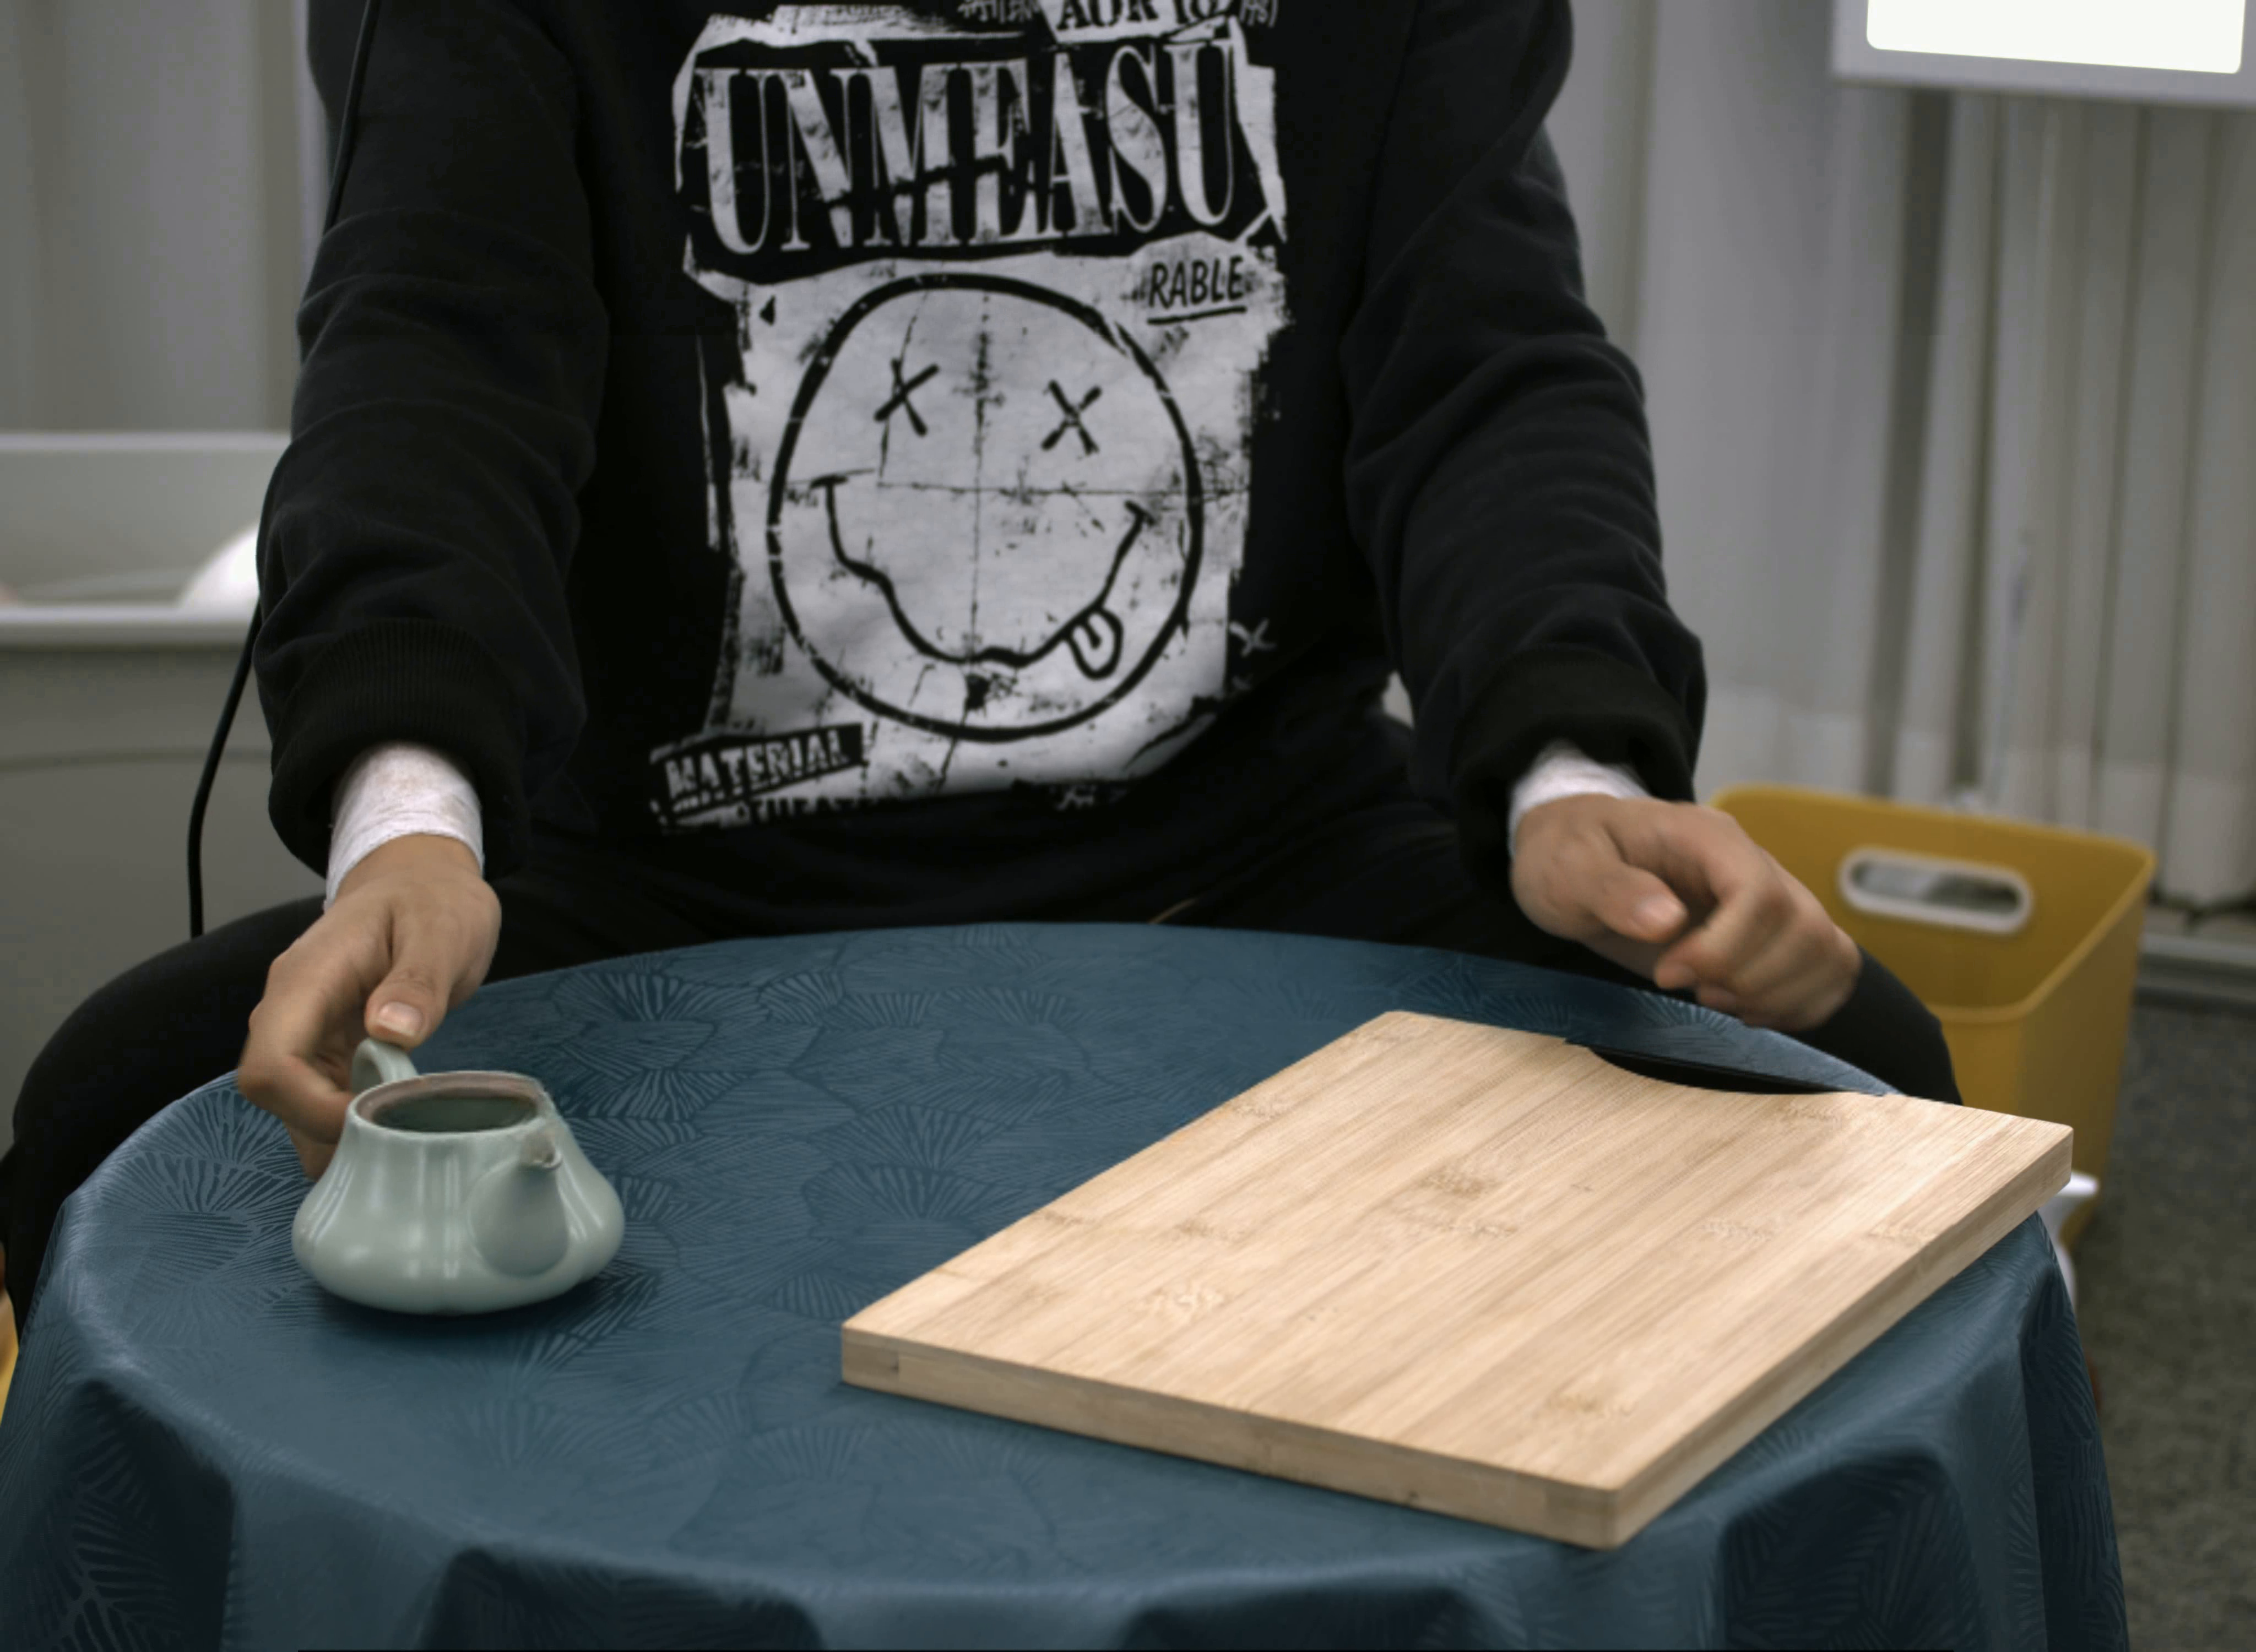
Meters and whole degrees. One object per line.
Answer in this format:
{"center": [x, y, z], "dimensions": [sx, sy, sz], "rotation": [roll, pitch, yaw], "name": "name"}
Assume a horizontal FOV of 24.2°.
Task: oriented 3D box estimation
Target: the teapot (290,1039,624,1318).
{"center": [-0.198, 0.104, 1.532], "dimensions": [0.096, 0.062, 0.135], "rotation": [-11, 20, -32], "name": "teapot"}

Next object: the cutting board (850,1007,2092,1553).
{"center": [0.110, 0.124, 1.555], "dimensions": [0.248, 0.024, 0.349], "rotation": [9, 18, 27], "name": "cutting board"}
